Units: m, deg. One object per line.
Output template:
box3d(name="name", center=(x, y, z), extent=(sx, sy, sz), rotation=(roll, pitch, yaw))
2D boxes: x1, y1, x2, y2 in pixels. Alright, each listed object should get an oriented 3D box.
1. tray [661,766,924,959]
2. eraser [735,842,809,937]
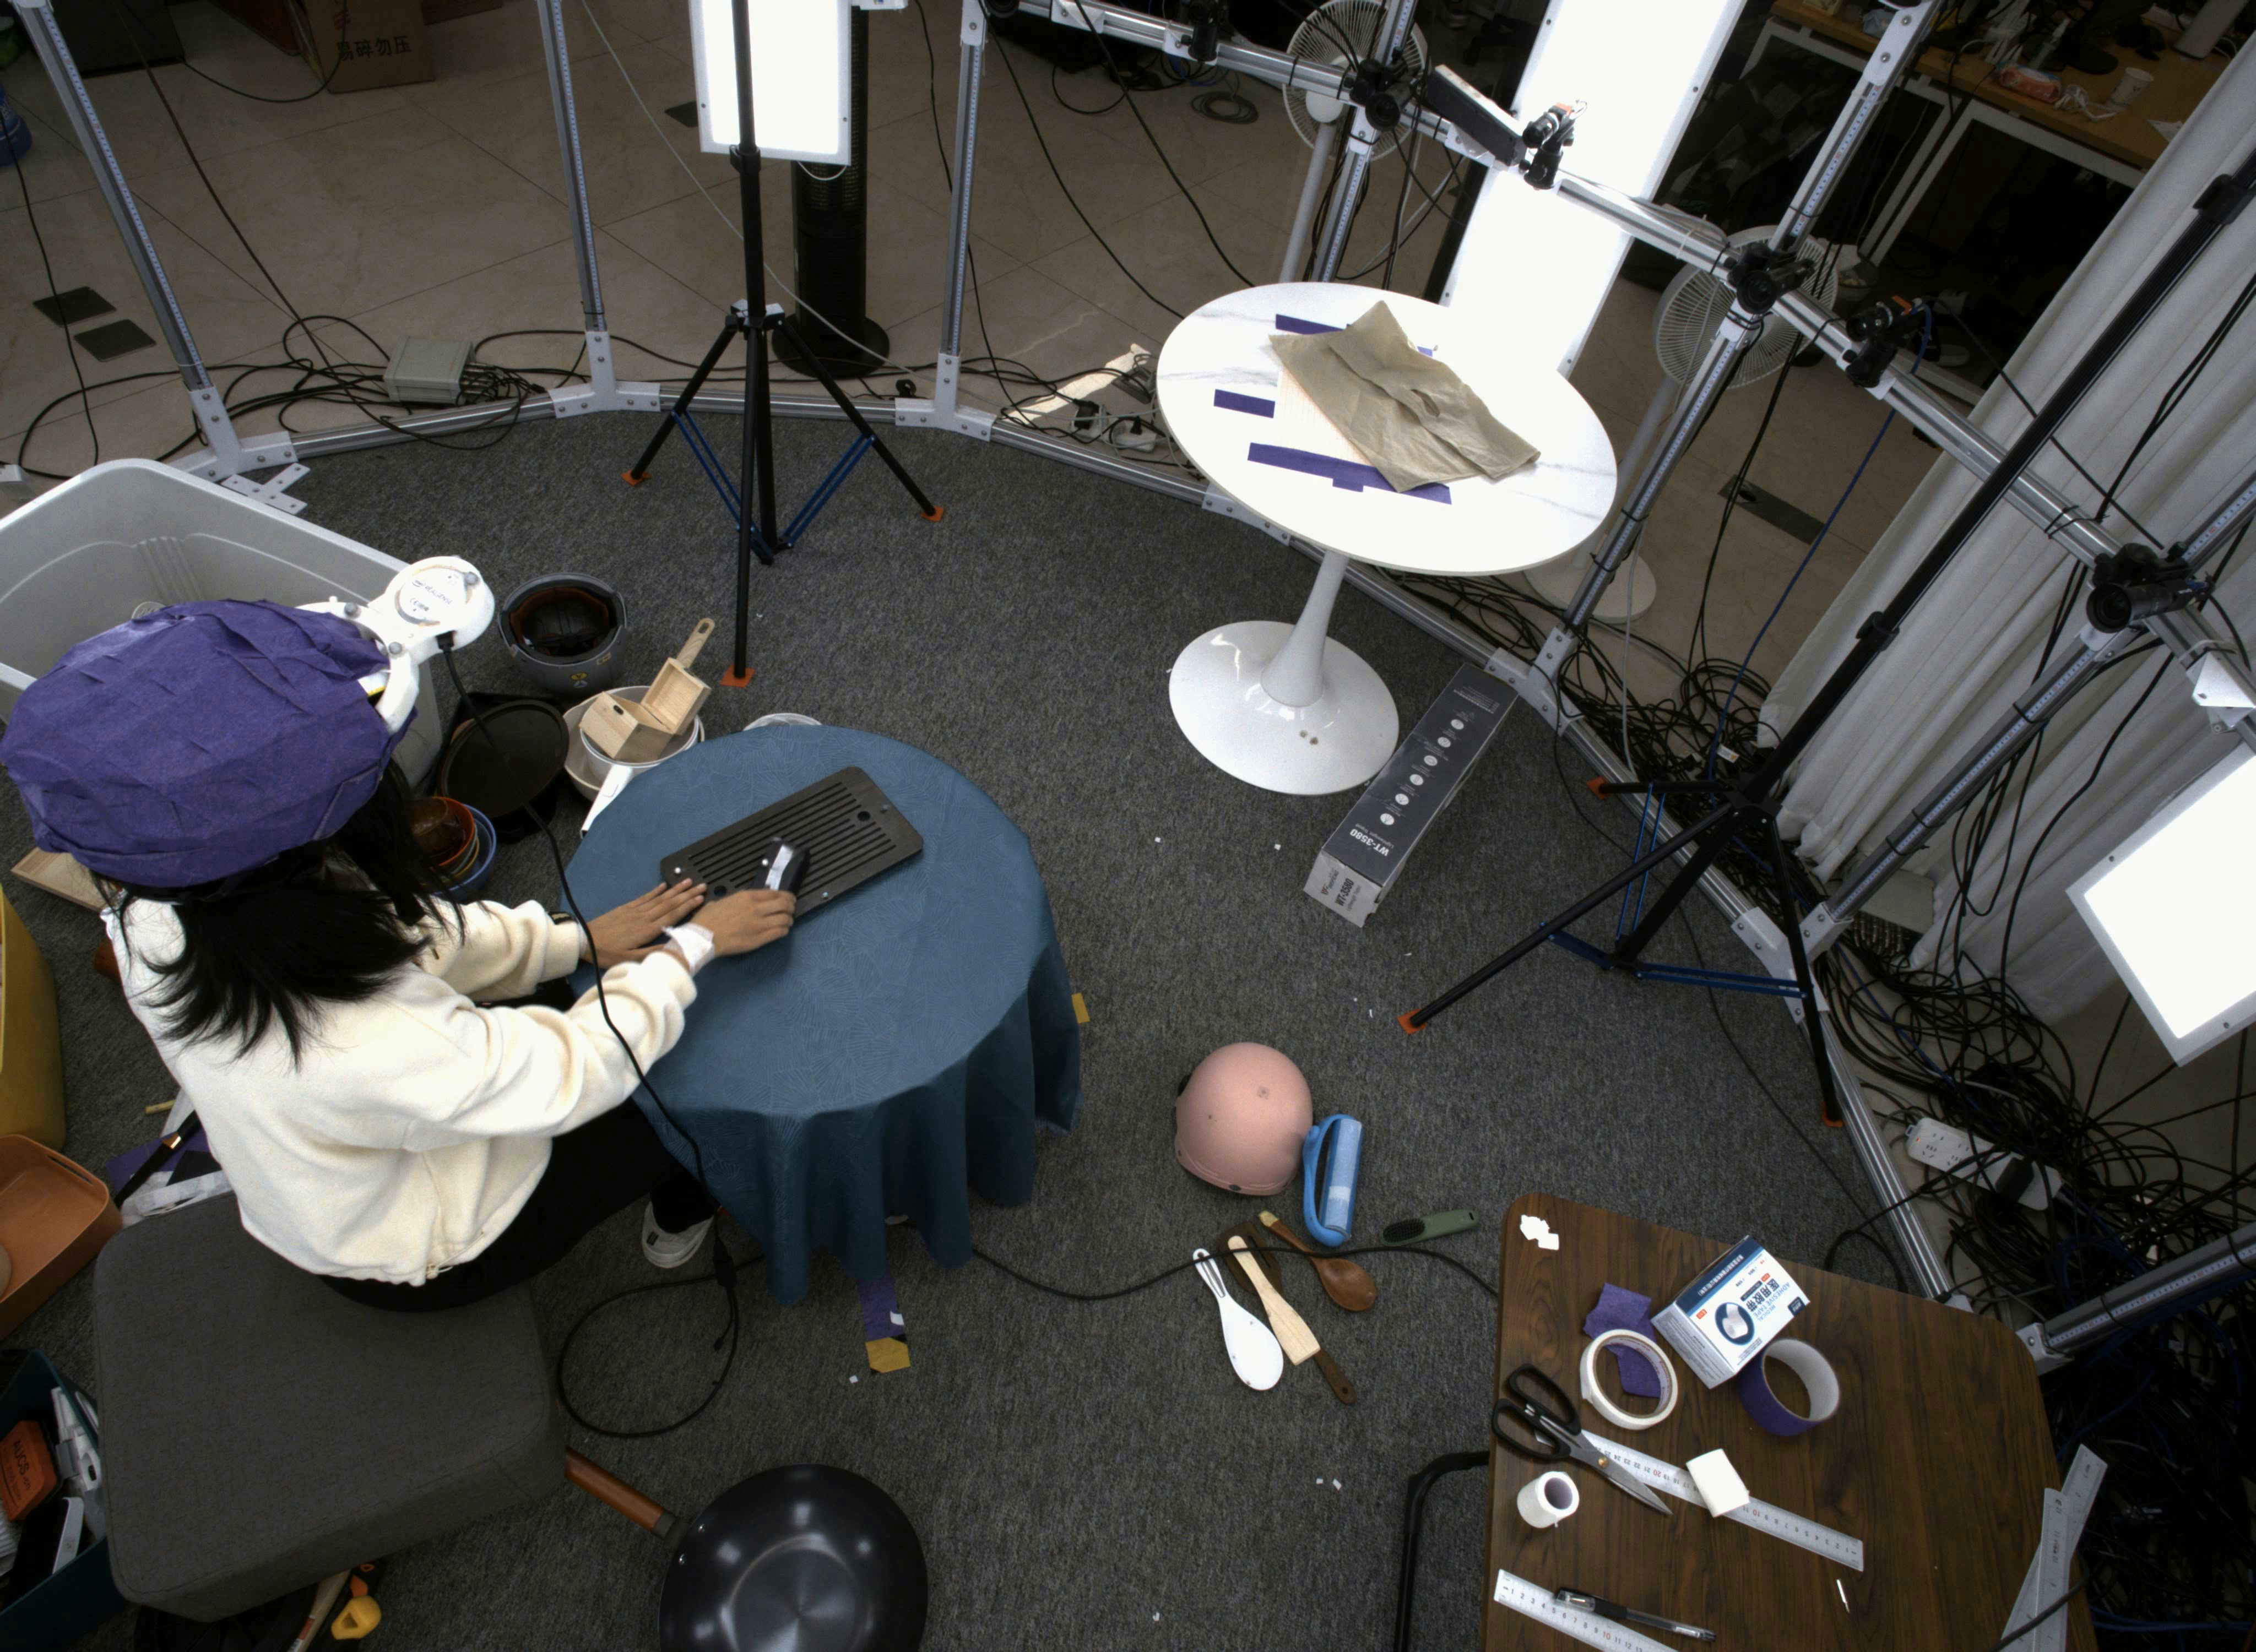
box3d(name="tray", center=(-0.430, 0.041, 1.675), extent=(0.307, 0.019, 0.166), rotation=(-31, 67, -32))
box3d(name="eraser", center=(-0.443, 0.076, 1.619), extent=(0.053, 0.031, 0.124), rotation=(13, 53, 1))
